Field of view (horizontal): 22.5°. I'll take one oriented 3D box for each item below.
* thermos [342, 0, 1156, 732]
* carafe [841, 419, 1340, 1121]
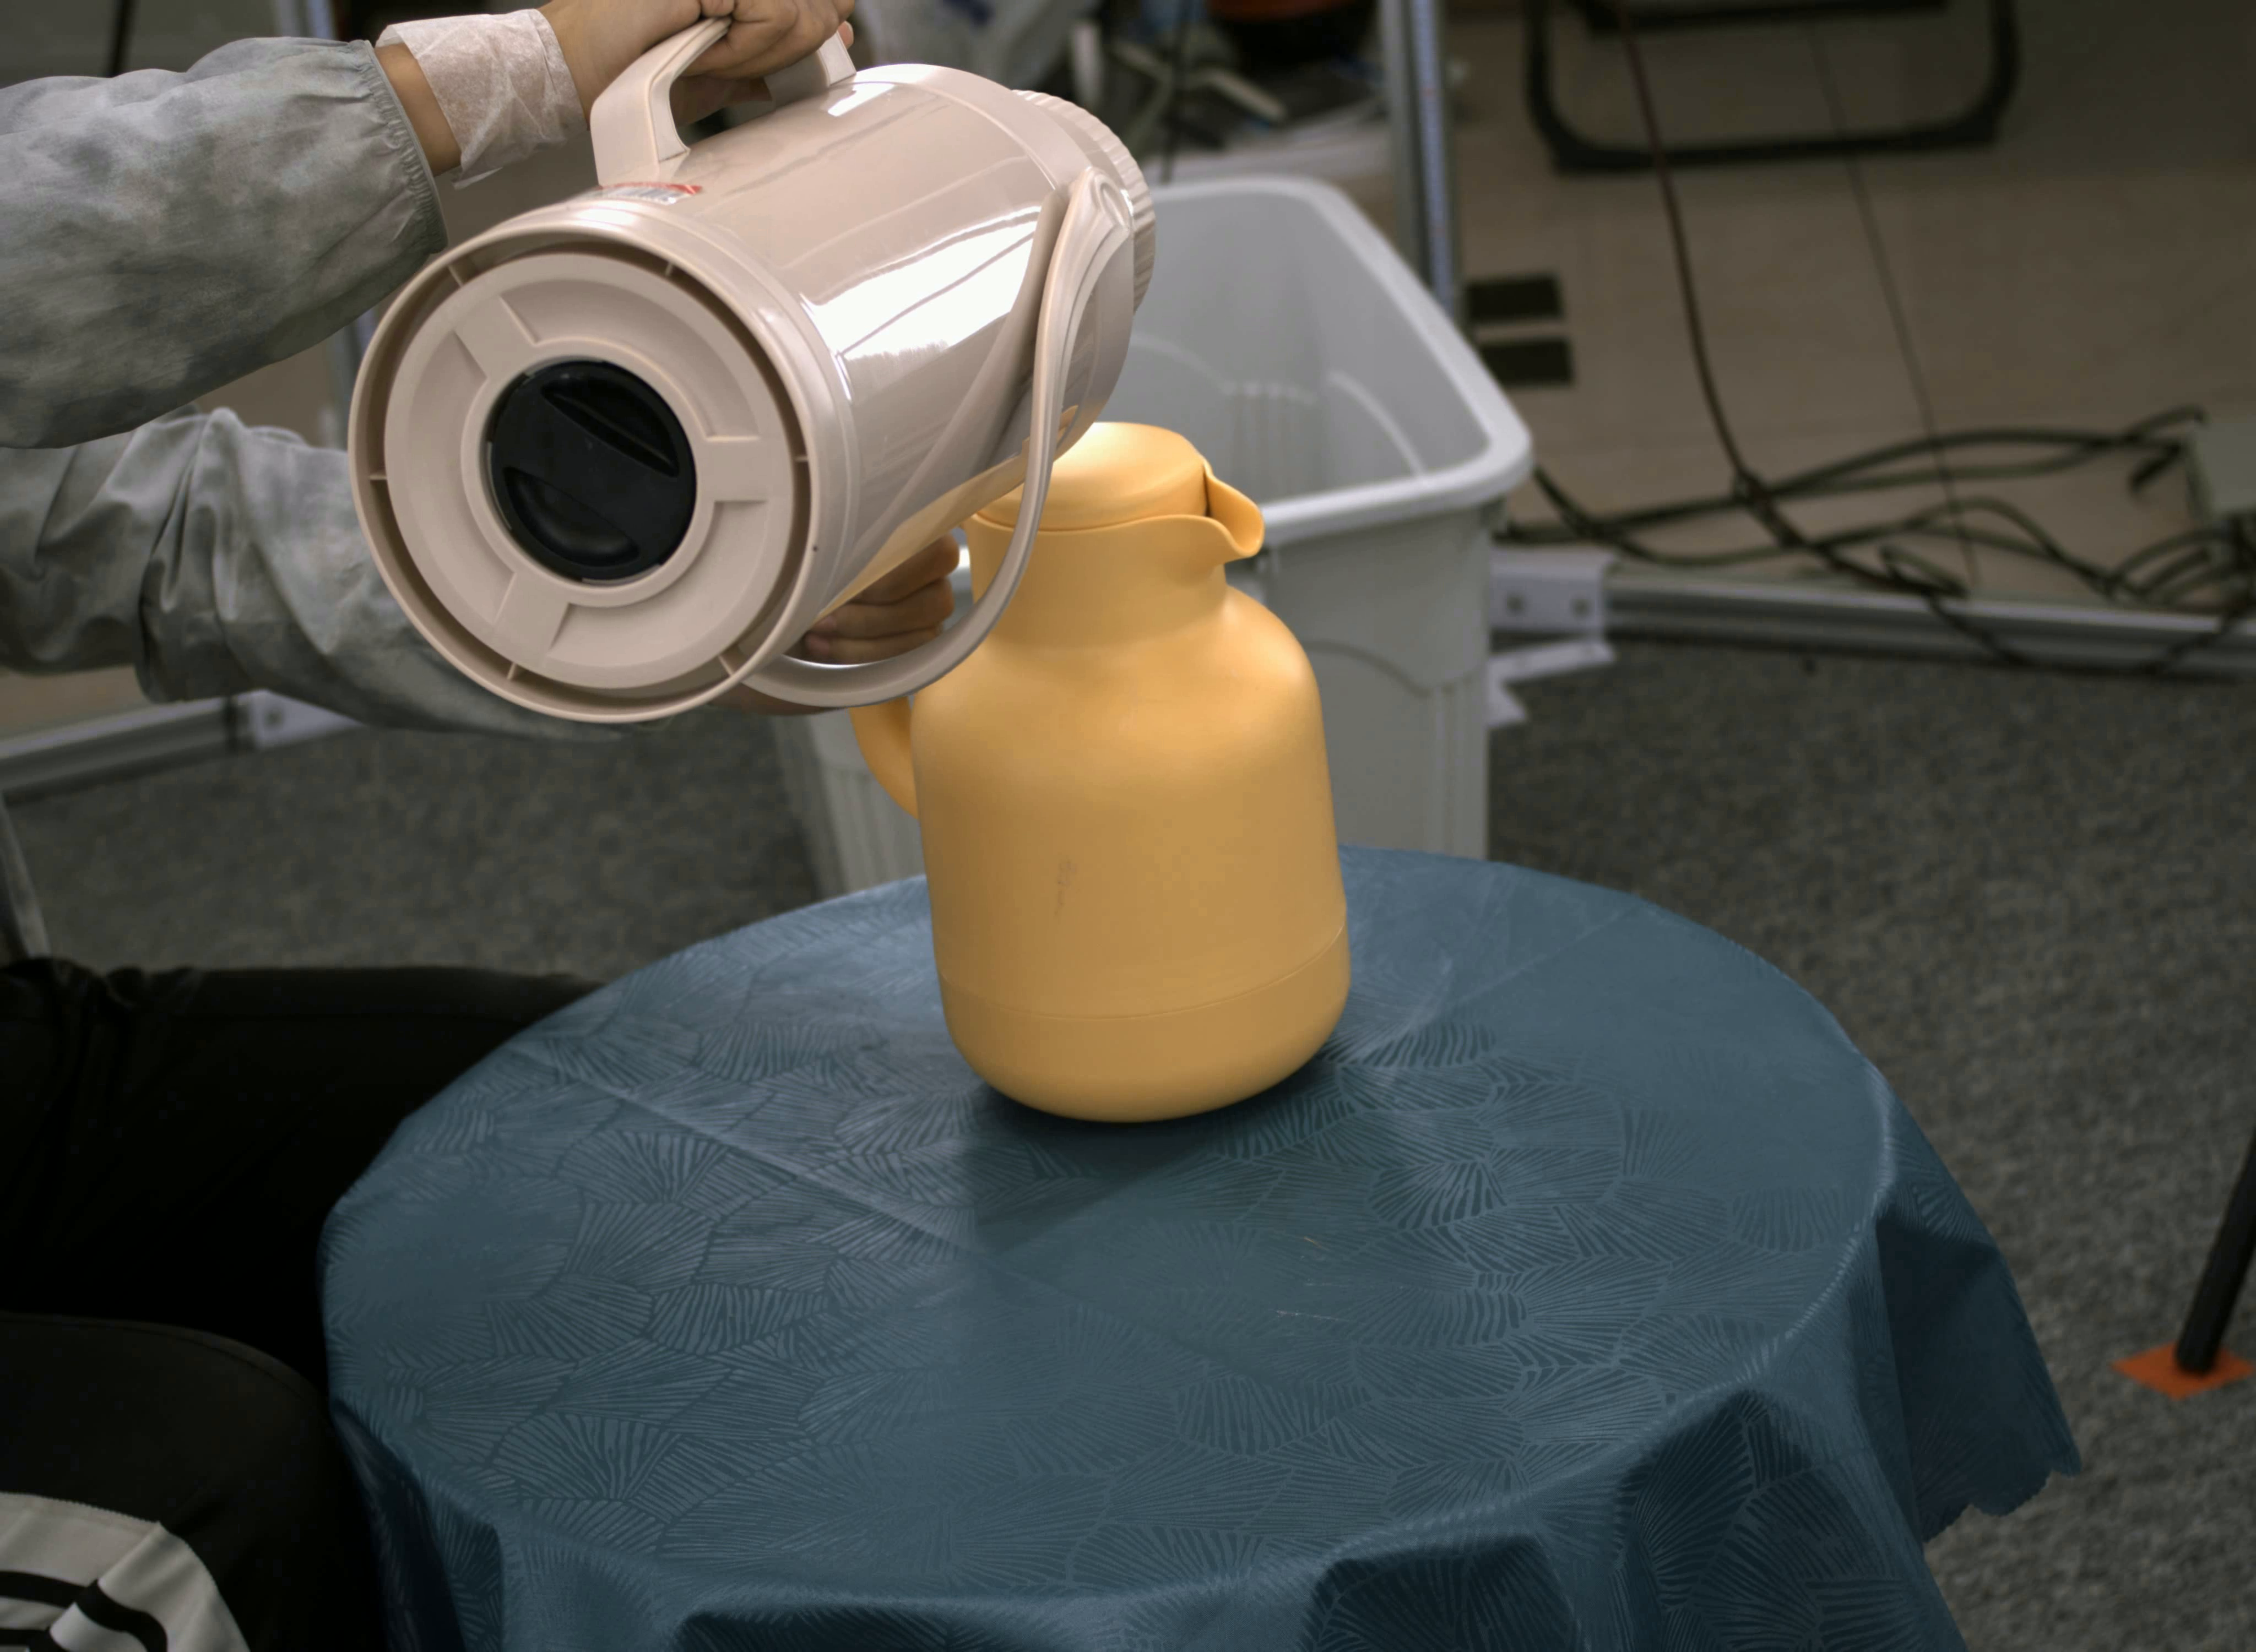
[{"bbox_3d":[-0.113,-0.175,1.911,0.176,0.208,0.402,-19,10,26],"label":"thermos"},{"bbox_3d":[-0.020,-0.030,2.203,0.201,0.264,0.162,13,29,33],"label":"carafe"}]
